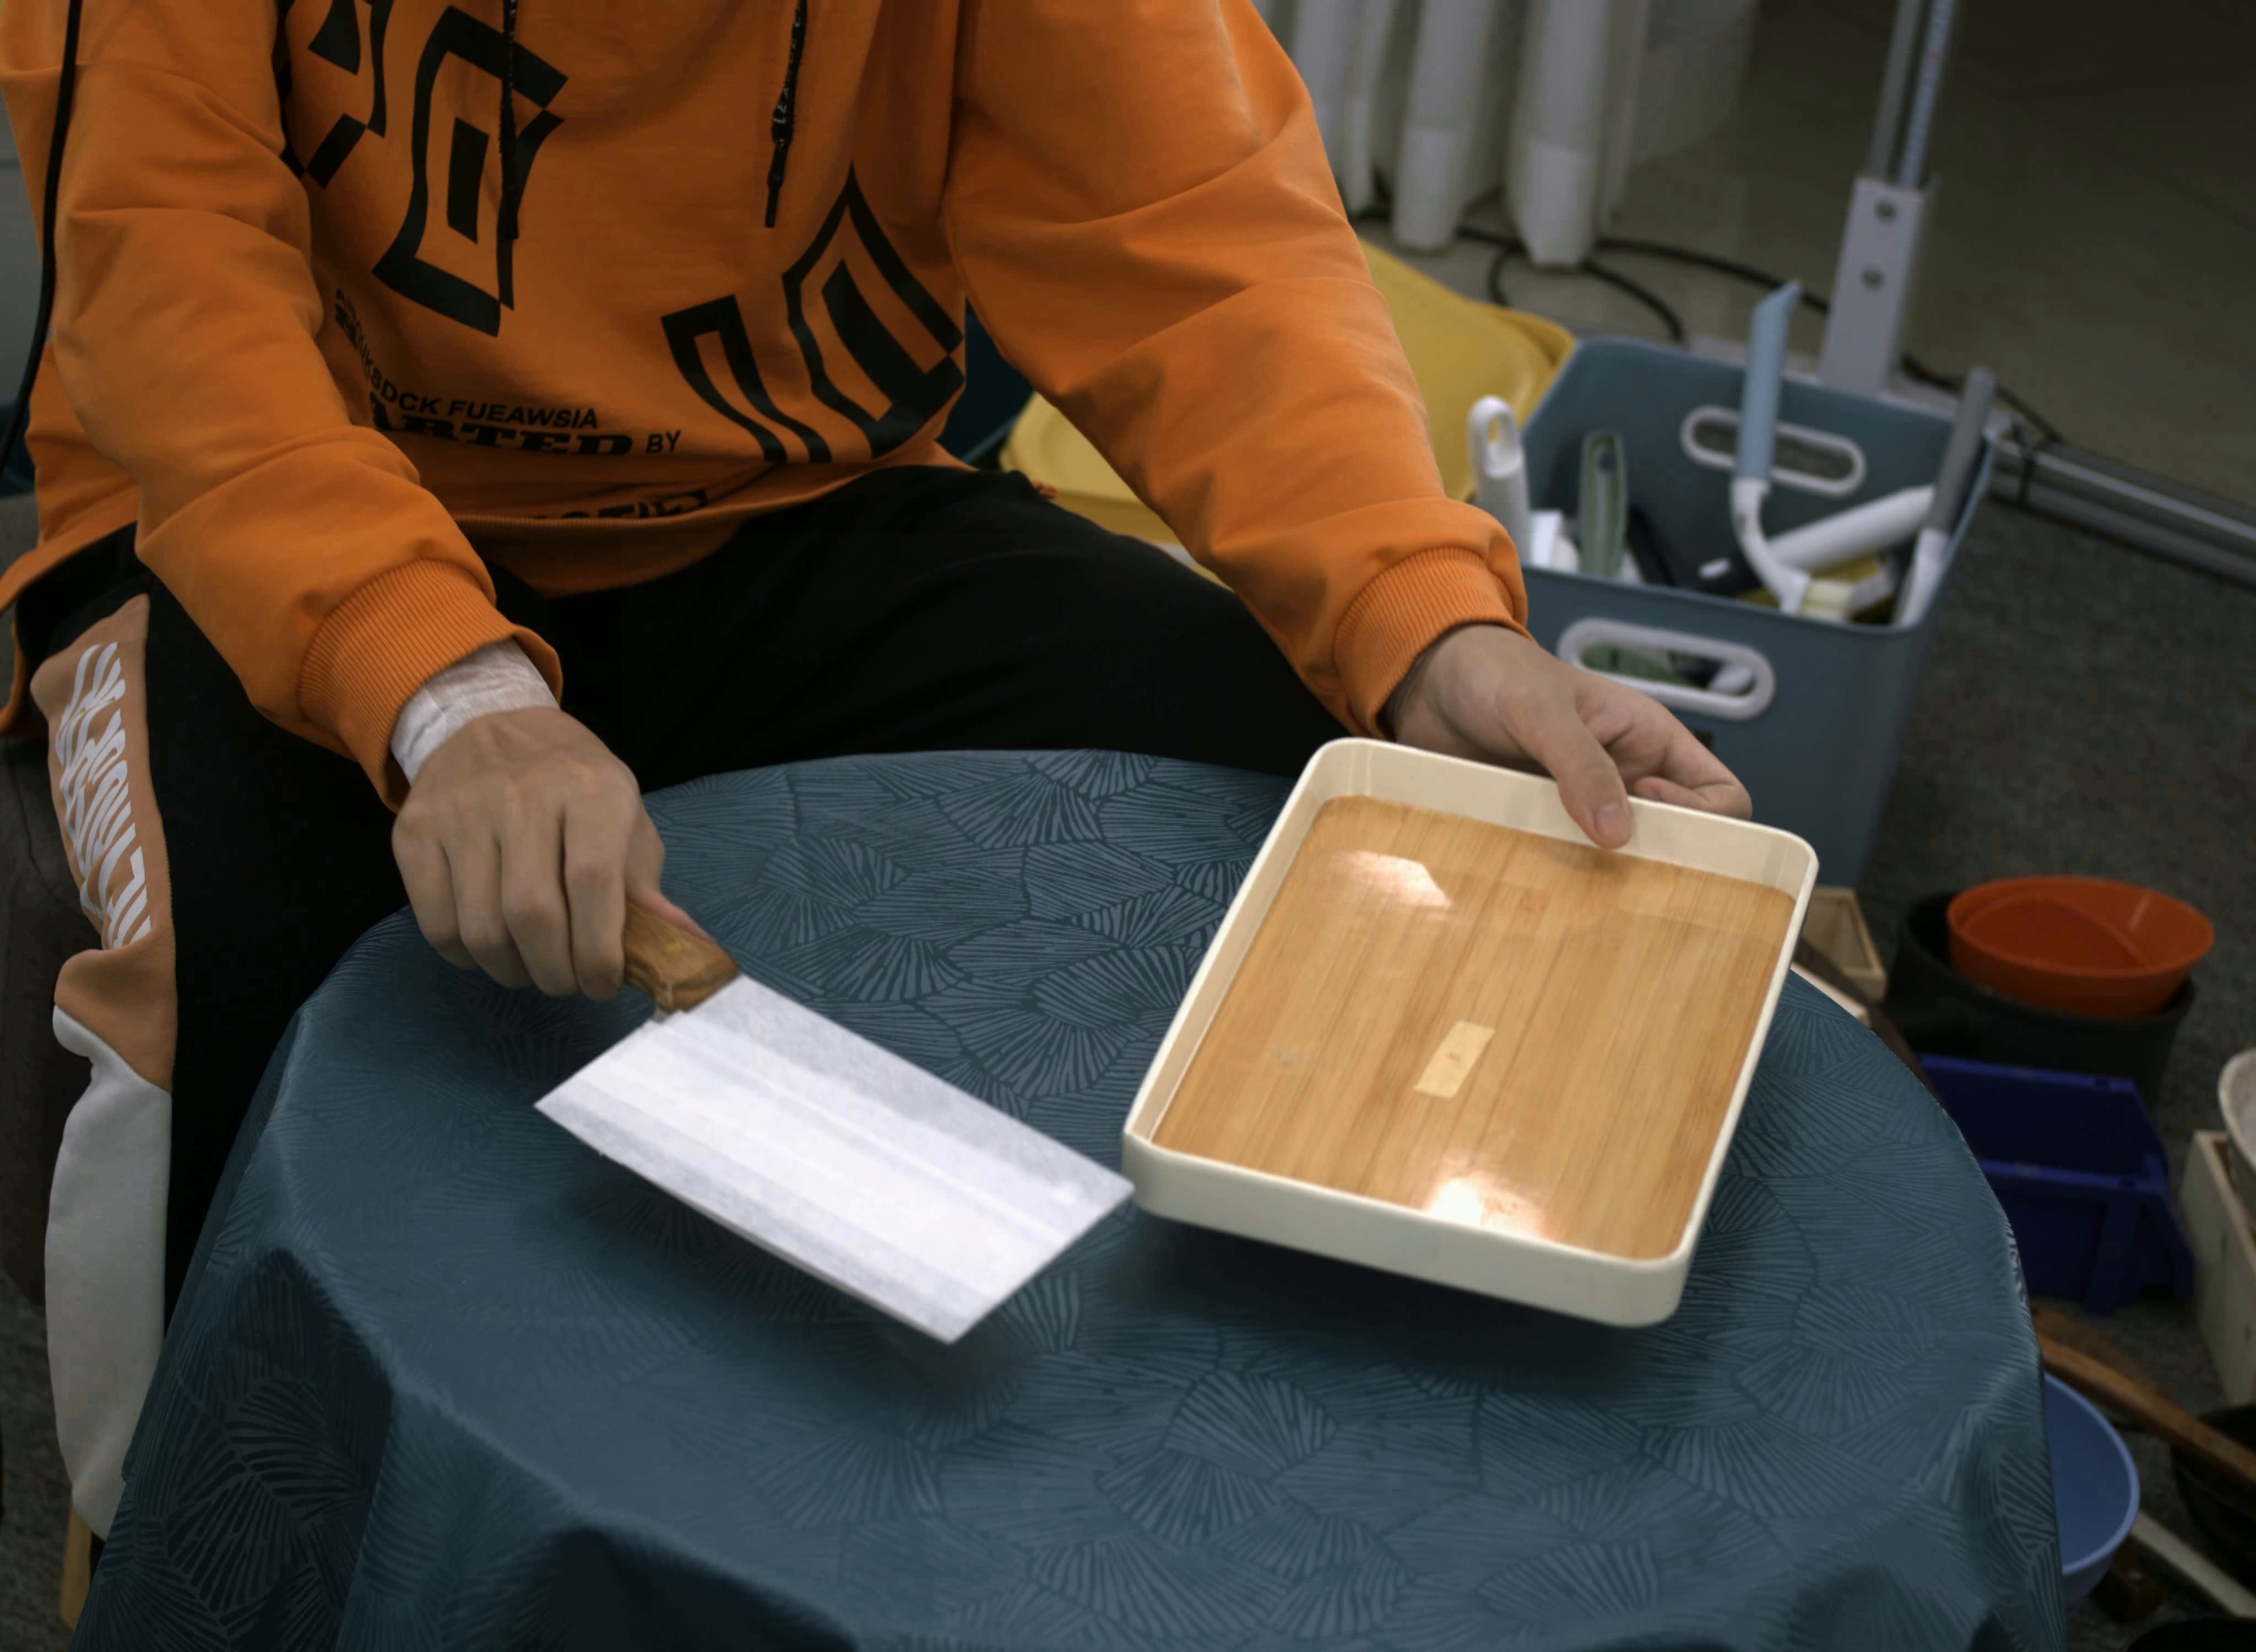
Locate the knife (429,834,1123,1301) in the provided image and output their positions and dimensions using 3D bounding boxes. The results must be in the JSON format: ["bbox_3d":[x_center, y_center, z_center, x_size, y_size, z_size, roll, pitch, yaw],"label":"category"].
[{"bbox_3d":[-0.138,0.081,1.753,0.308,0.021,0.093,26,50,35],"label":"knife"}]

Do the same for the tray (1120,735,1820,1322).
[{"bbox_3d":[0.123,0.063,1.834,0.192,0.027,0.301,12,31,11],"label":"tray"}]
